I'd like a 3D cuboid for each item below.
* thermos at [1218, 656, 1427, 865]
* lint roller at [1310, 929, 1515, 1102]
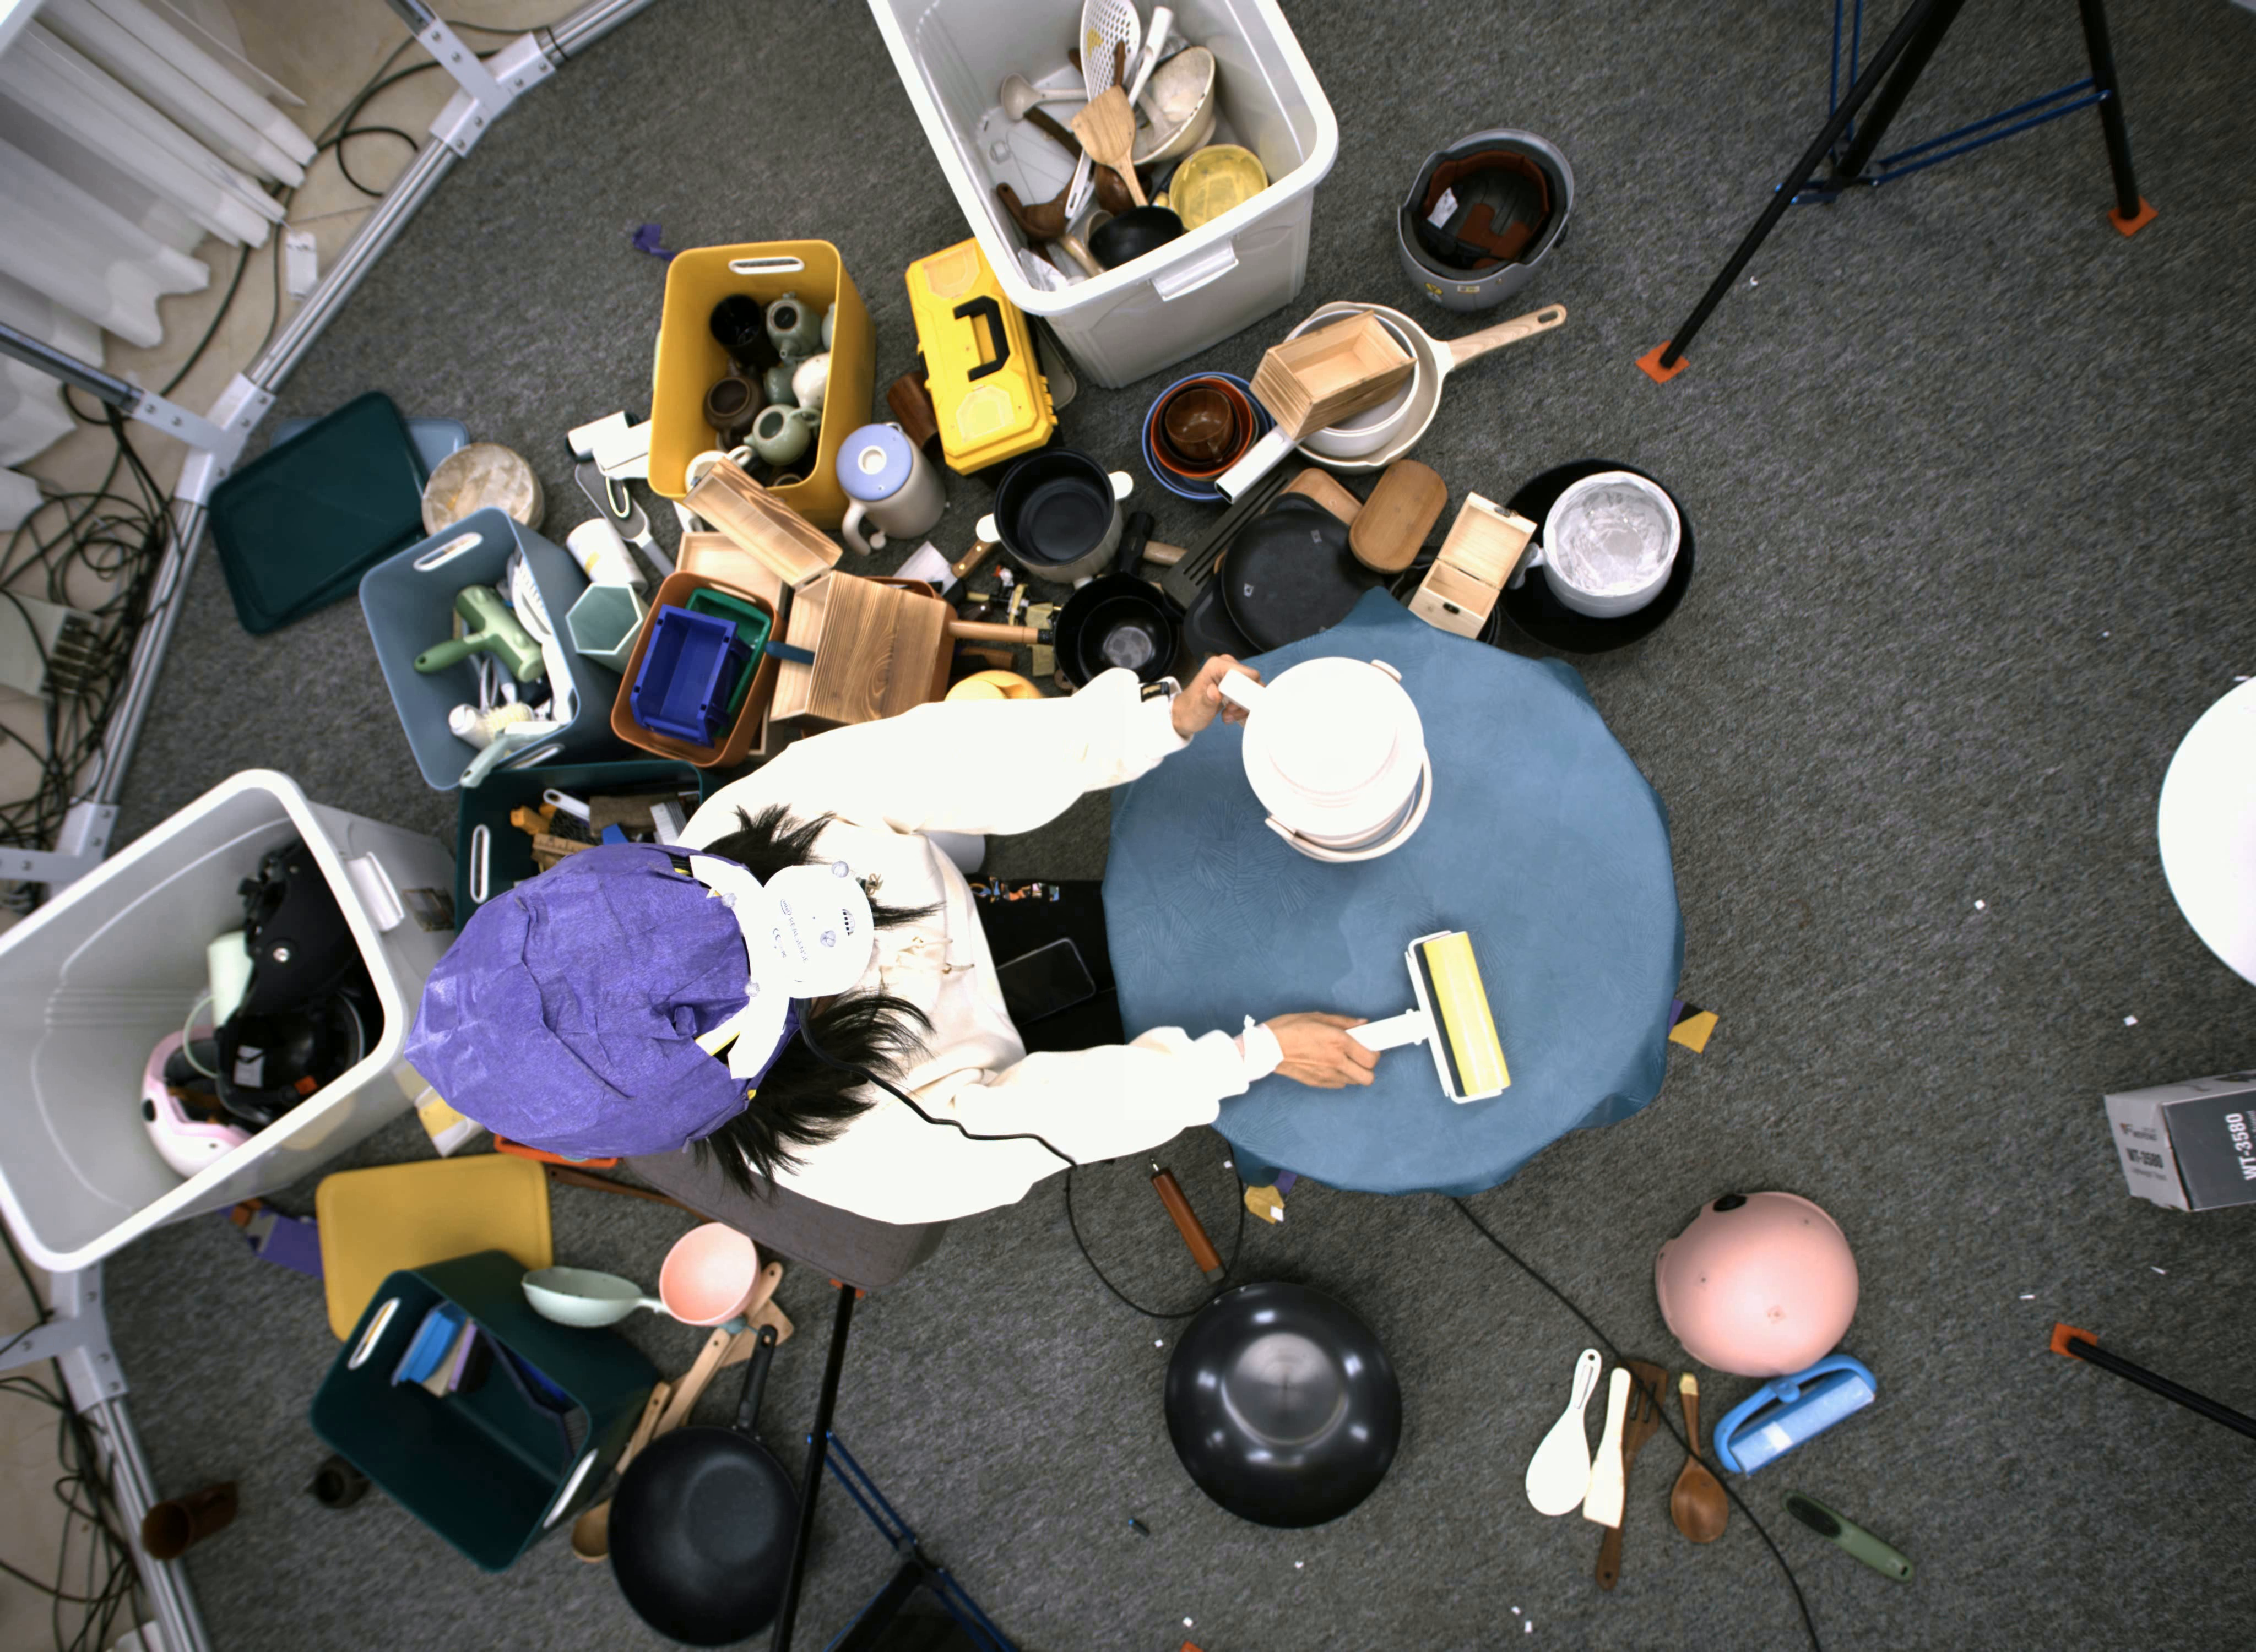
[{"bbox_3d":[0.182,-0.068,1.283,0.206,0.407,0.175,34,91,11],"label":"thermos"},{"bbox_3d":[0.282,0.209,1.414,0.192,0.052,0.173,-15,84,-4],"label":"lint roller"}]
